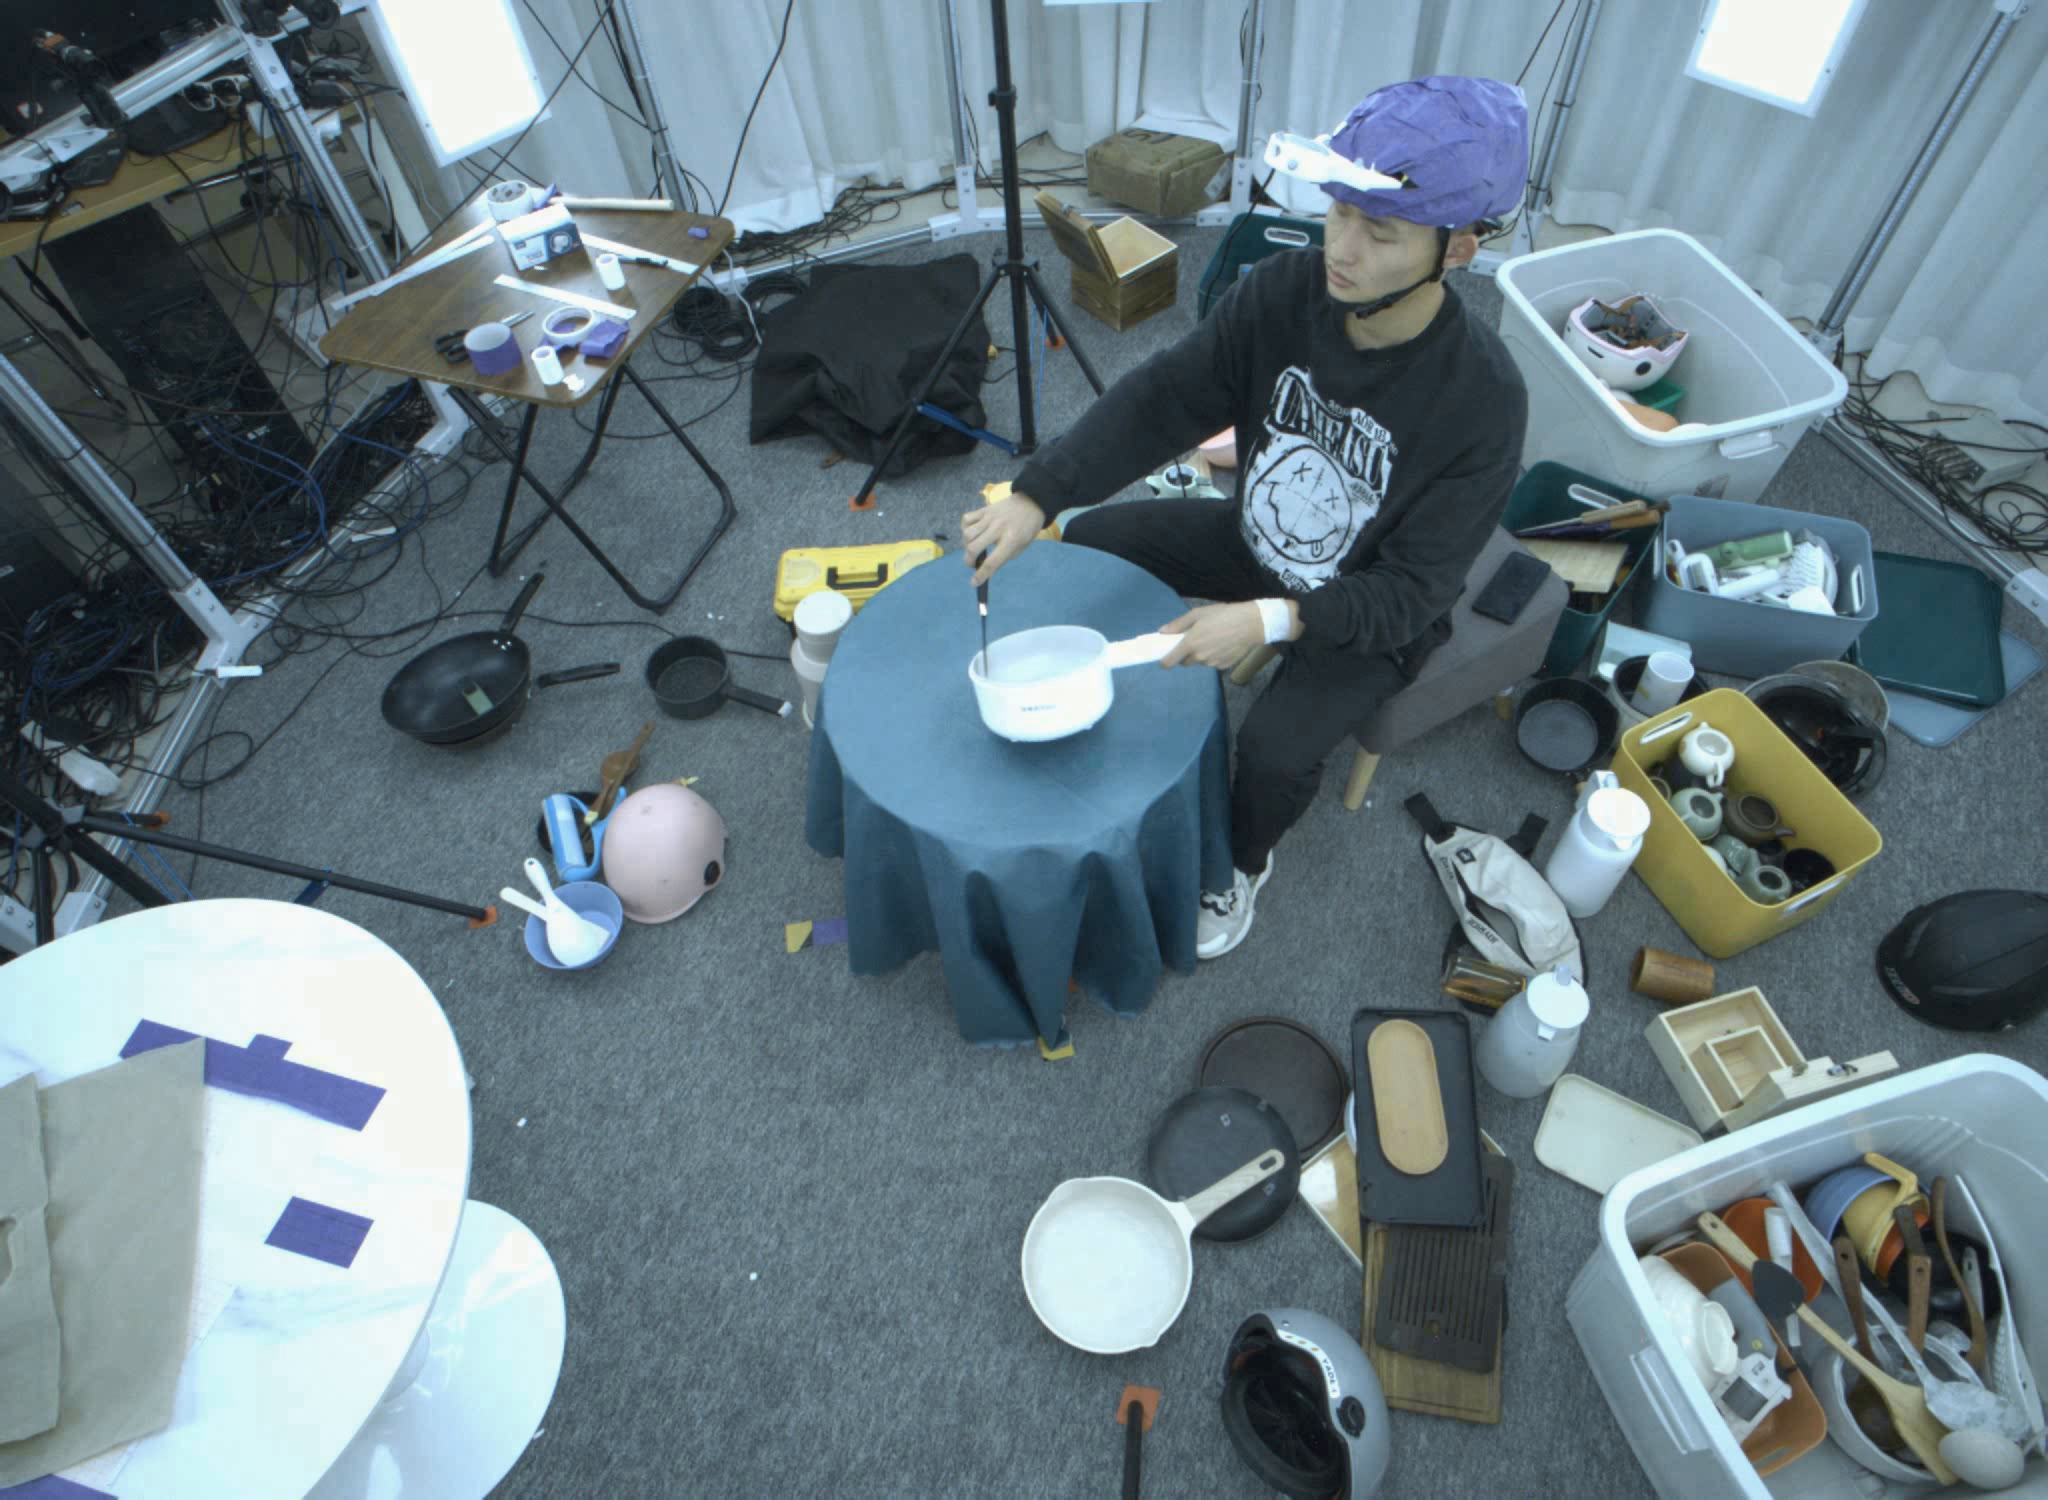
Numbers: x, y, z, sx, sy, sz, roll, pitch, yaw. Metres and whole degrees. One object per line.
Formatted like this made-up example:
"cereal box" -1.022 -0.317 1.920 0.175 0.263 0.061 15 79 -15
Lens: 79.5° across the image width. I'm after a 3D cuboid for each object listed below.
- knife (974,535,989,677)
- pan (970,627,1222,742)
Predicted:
"knife" -0.058 -0.190 1.725 0.017 0.227 0.025 -10 19 -22
"pan" 0.105 -0.101 1.752 0.354 0.103 0.199 -9 26 2
